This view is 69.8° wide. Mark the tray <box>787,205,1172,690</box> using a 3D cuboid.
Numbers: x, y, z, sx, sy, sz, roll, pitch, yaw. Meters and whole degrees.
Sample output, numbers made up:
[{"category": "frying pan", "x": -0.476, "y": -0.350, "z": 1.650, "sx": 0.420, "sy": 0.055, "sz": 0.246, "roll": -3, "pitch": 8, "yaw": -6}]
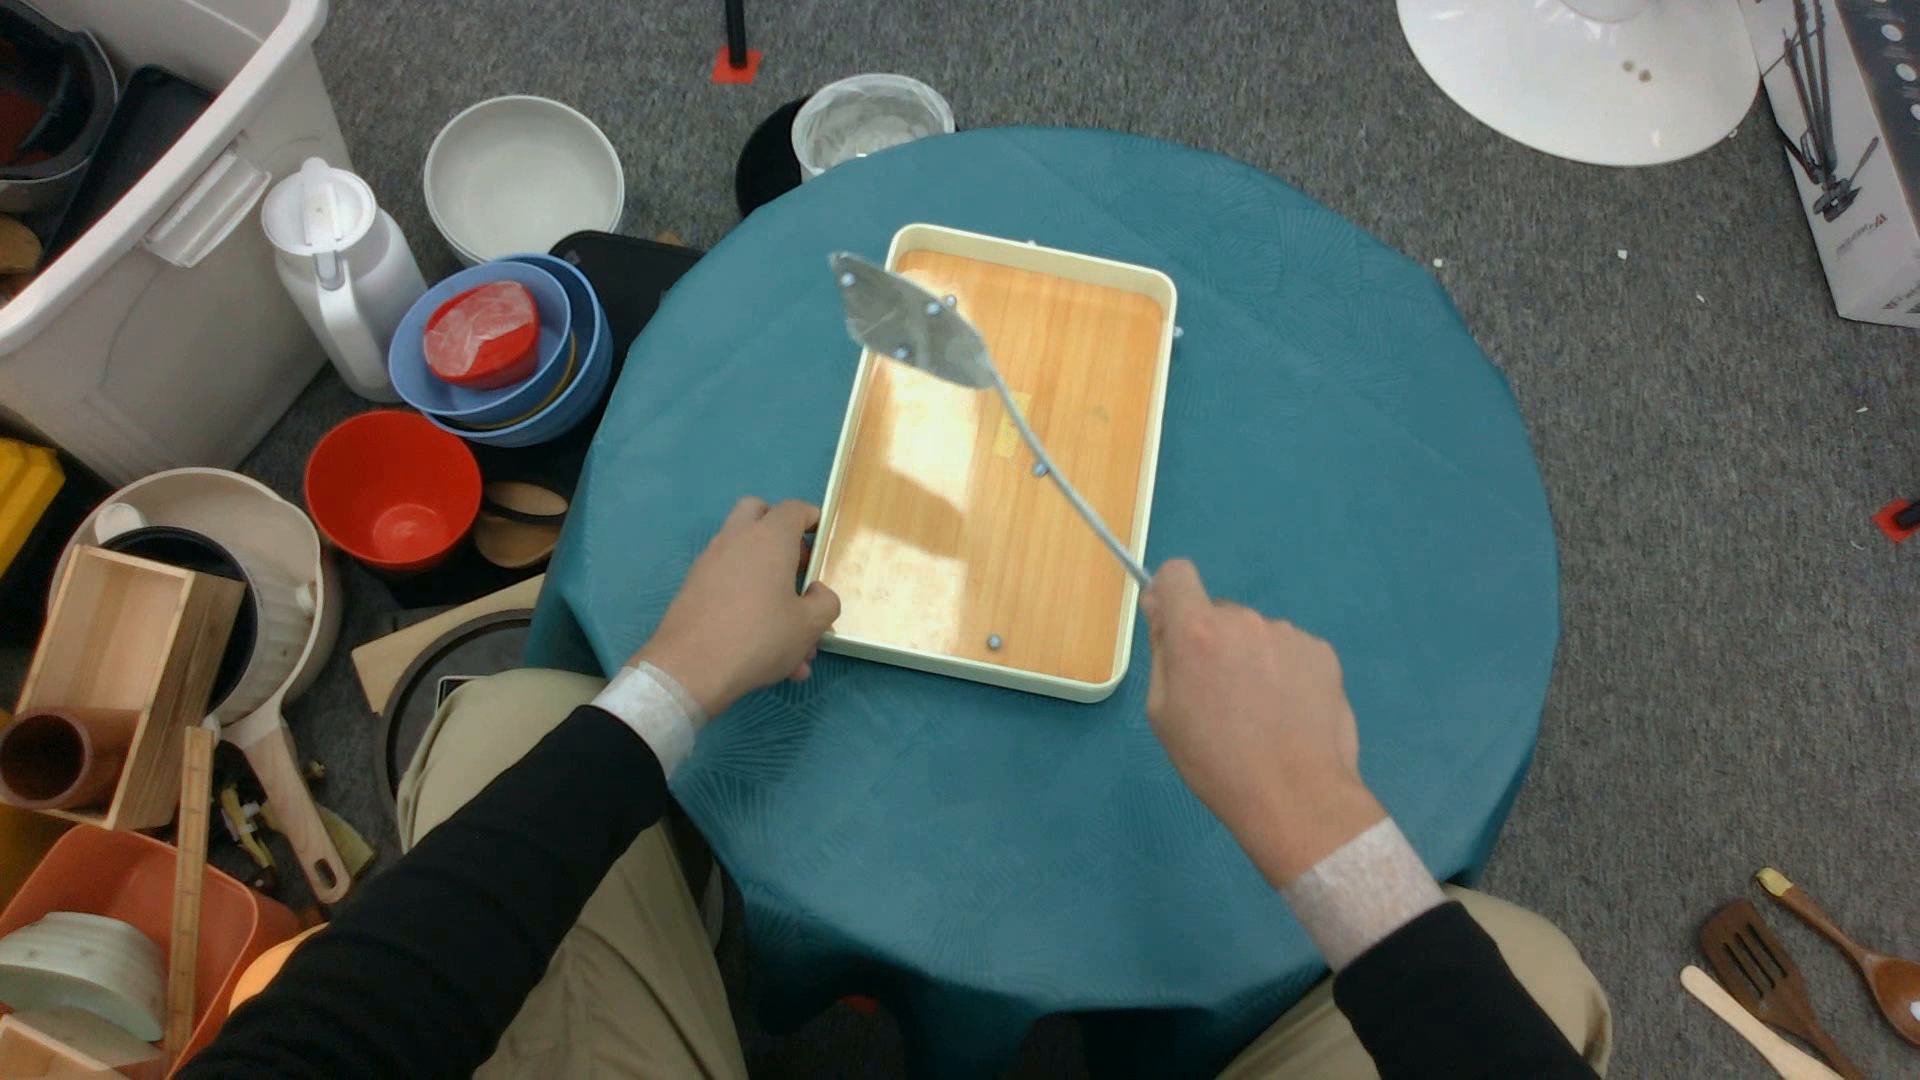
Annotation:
[{"category": "tray", "x": 0.019, "y": -0.066, "z": 0.841, "sx": 0.191, "sy": 0.027, "sz": 0.301, "roll": 12, "pitch": 63, "yaw": 0}]

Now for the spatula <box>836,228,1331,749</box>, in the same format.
[{"category": "spatula", "x": 0.054, "y": -0.029, "z": 0.703, "sx": 0.045, "sy": 0.098, "sz": 0.365, "roll": -33, "pitch": 69, "yaw": -11}]
